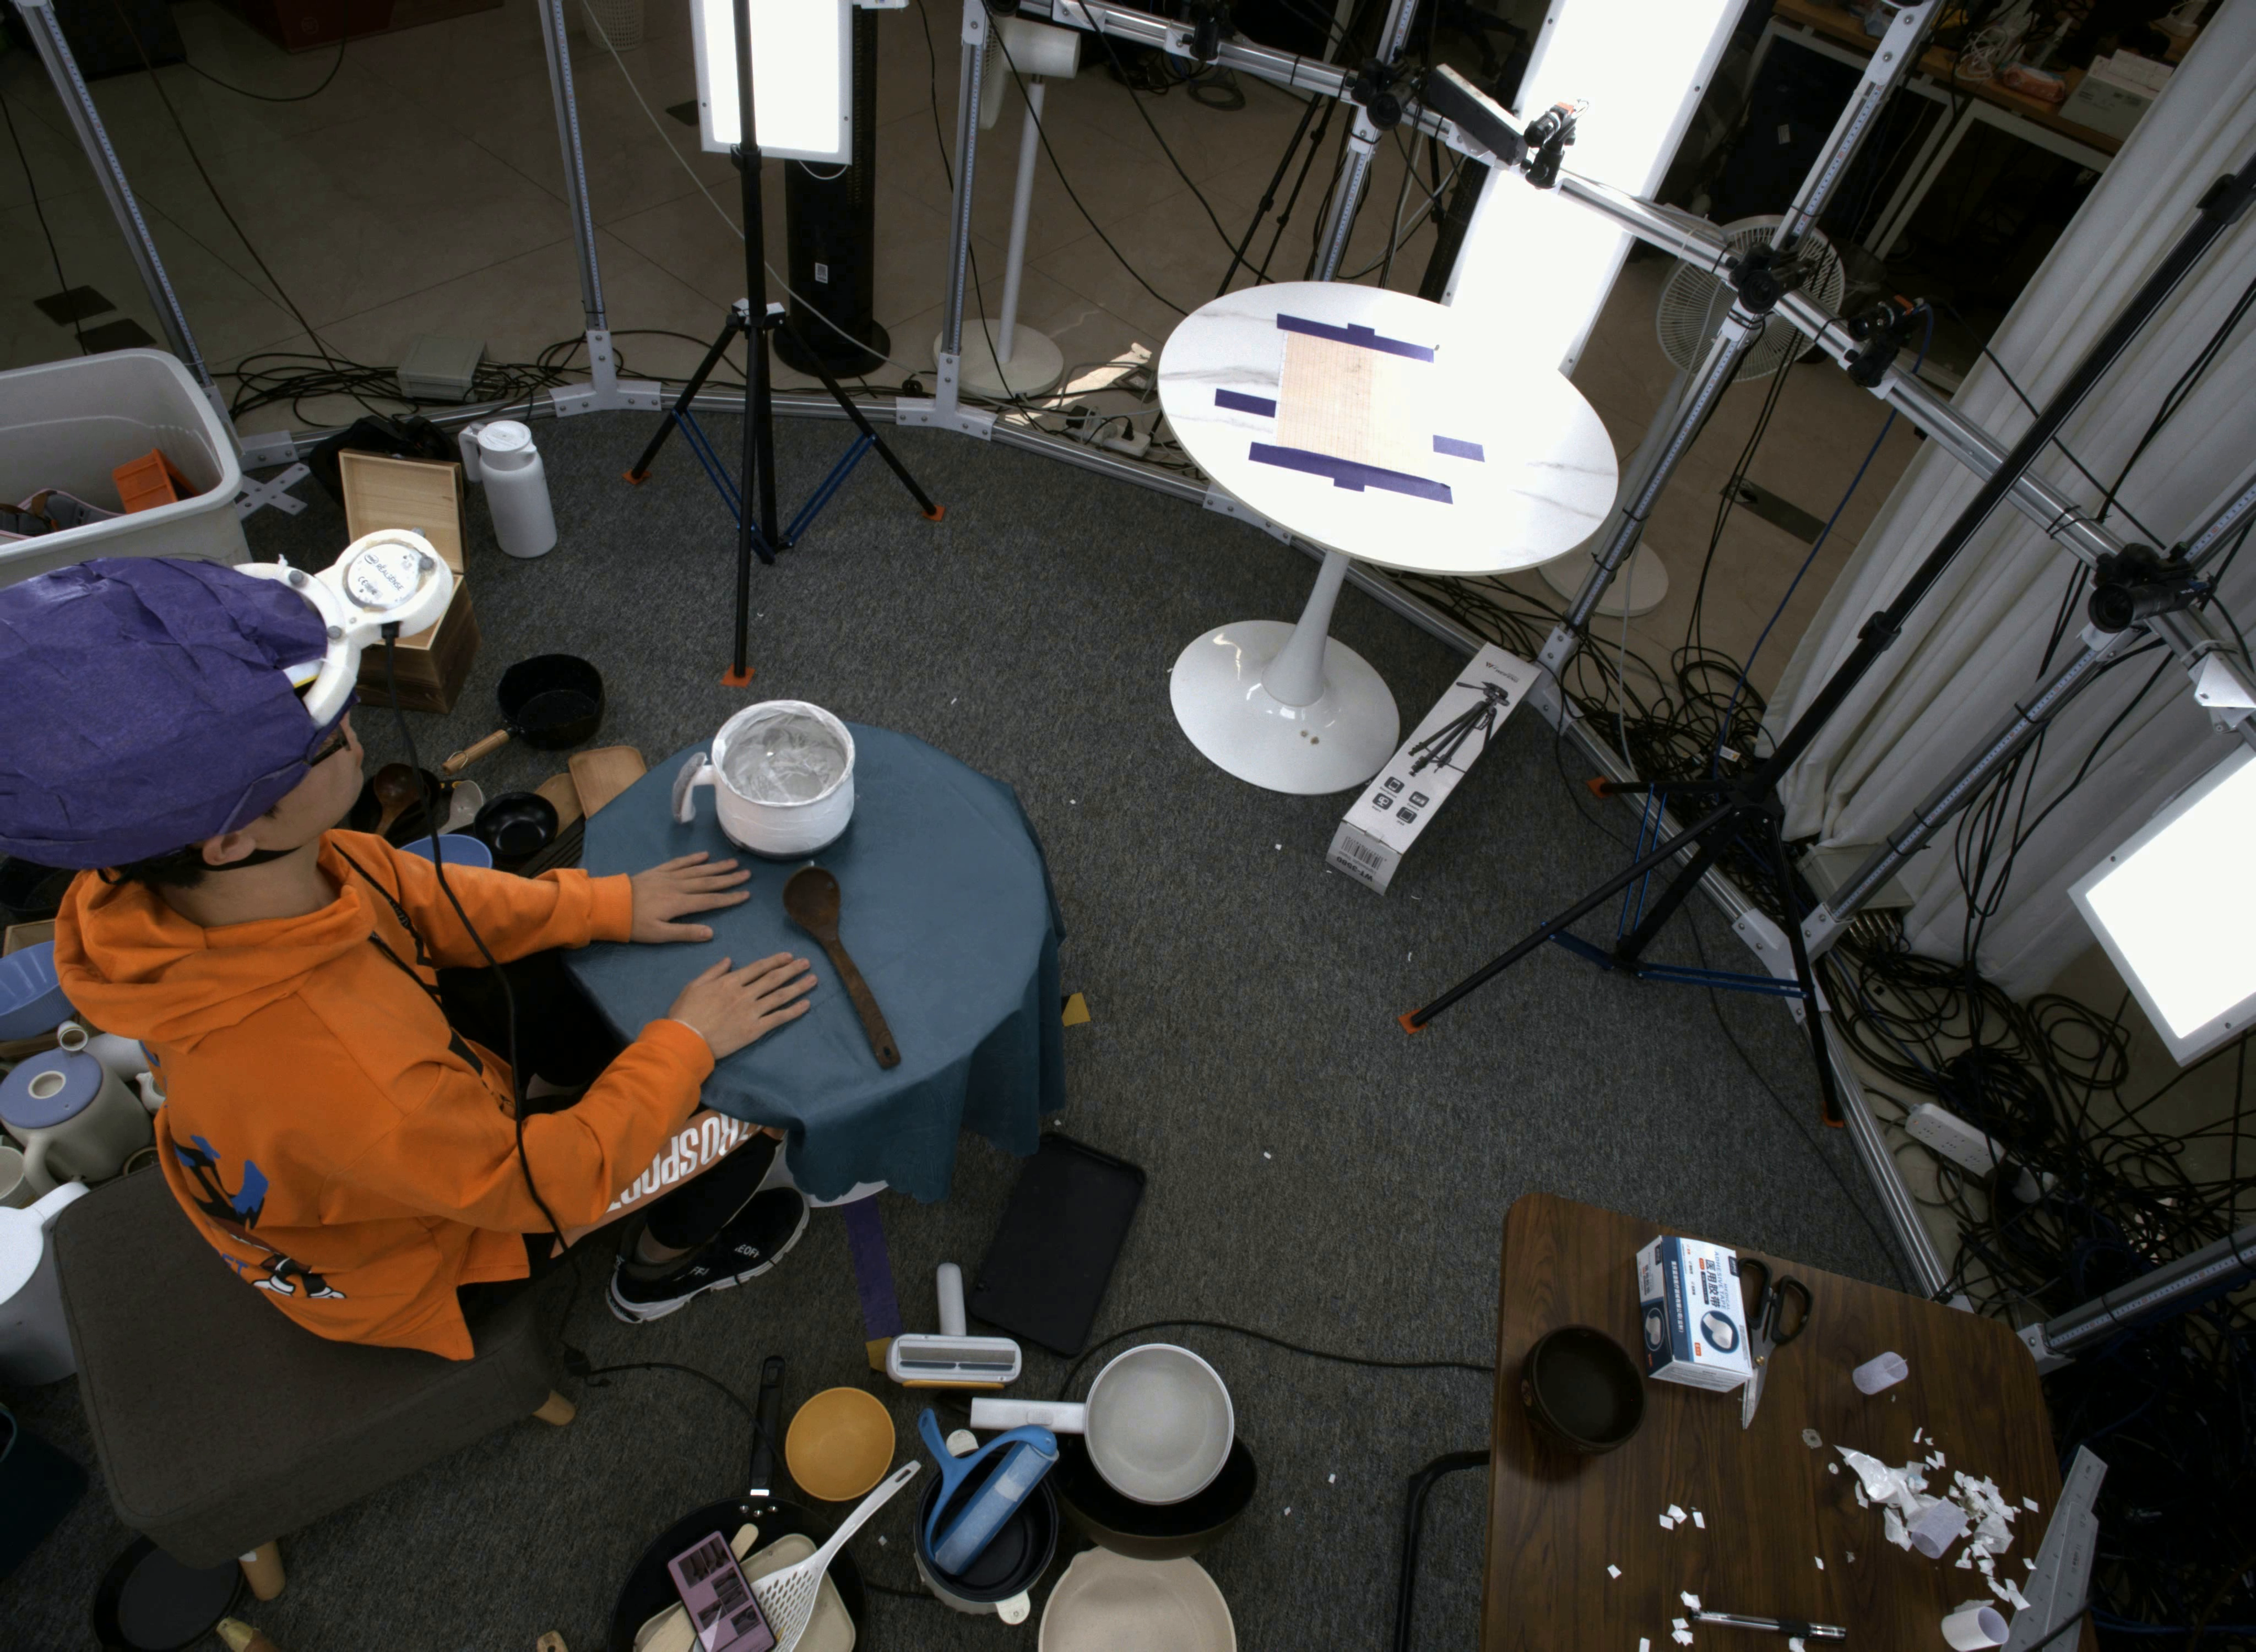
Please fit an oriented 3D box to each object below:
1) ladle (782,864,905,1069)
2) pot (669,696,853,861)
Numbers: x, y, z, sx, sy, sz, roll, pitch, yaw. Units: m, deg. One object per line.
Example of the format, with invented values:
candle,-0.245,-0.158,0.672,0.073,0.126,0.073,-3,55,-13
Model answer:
ladle,-0.339,0.163,1.569,0.076,0.073,0.267,-22,61,-24
pot,-0.470,-0.054,1.653,0.235,0.139,0.174,-6,54,-19
